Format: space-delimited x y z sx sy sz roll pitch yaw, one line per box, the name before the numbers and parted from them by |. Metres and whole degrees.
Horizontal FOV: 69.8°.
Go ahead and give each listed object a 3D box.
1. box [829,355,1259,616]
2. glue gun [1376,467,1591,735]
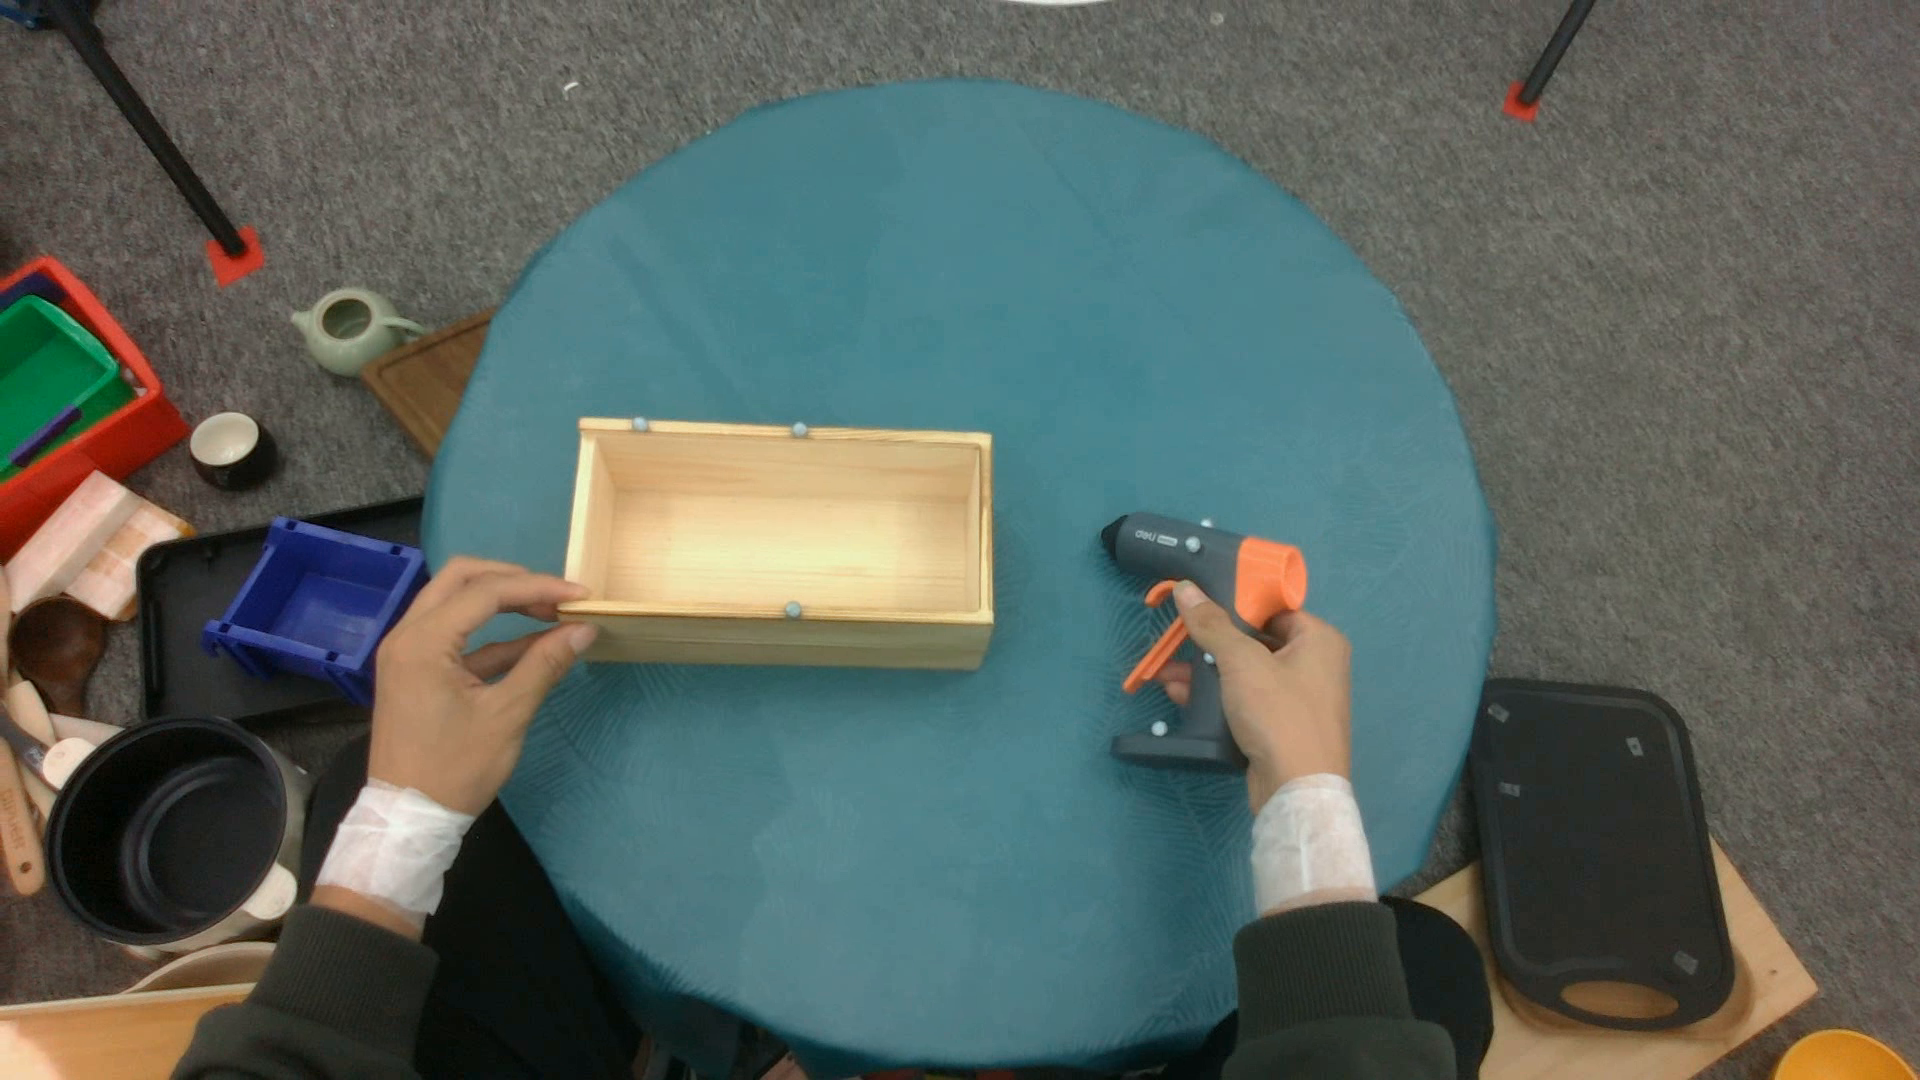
box | 0.047 -0.028 0.734 0.211 0.080 0.108 4 71 7
glue gun | 0.254 0.025 0.704 0.117 0.041 0.140 -5 66 52
